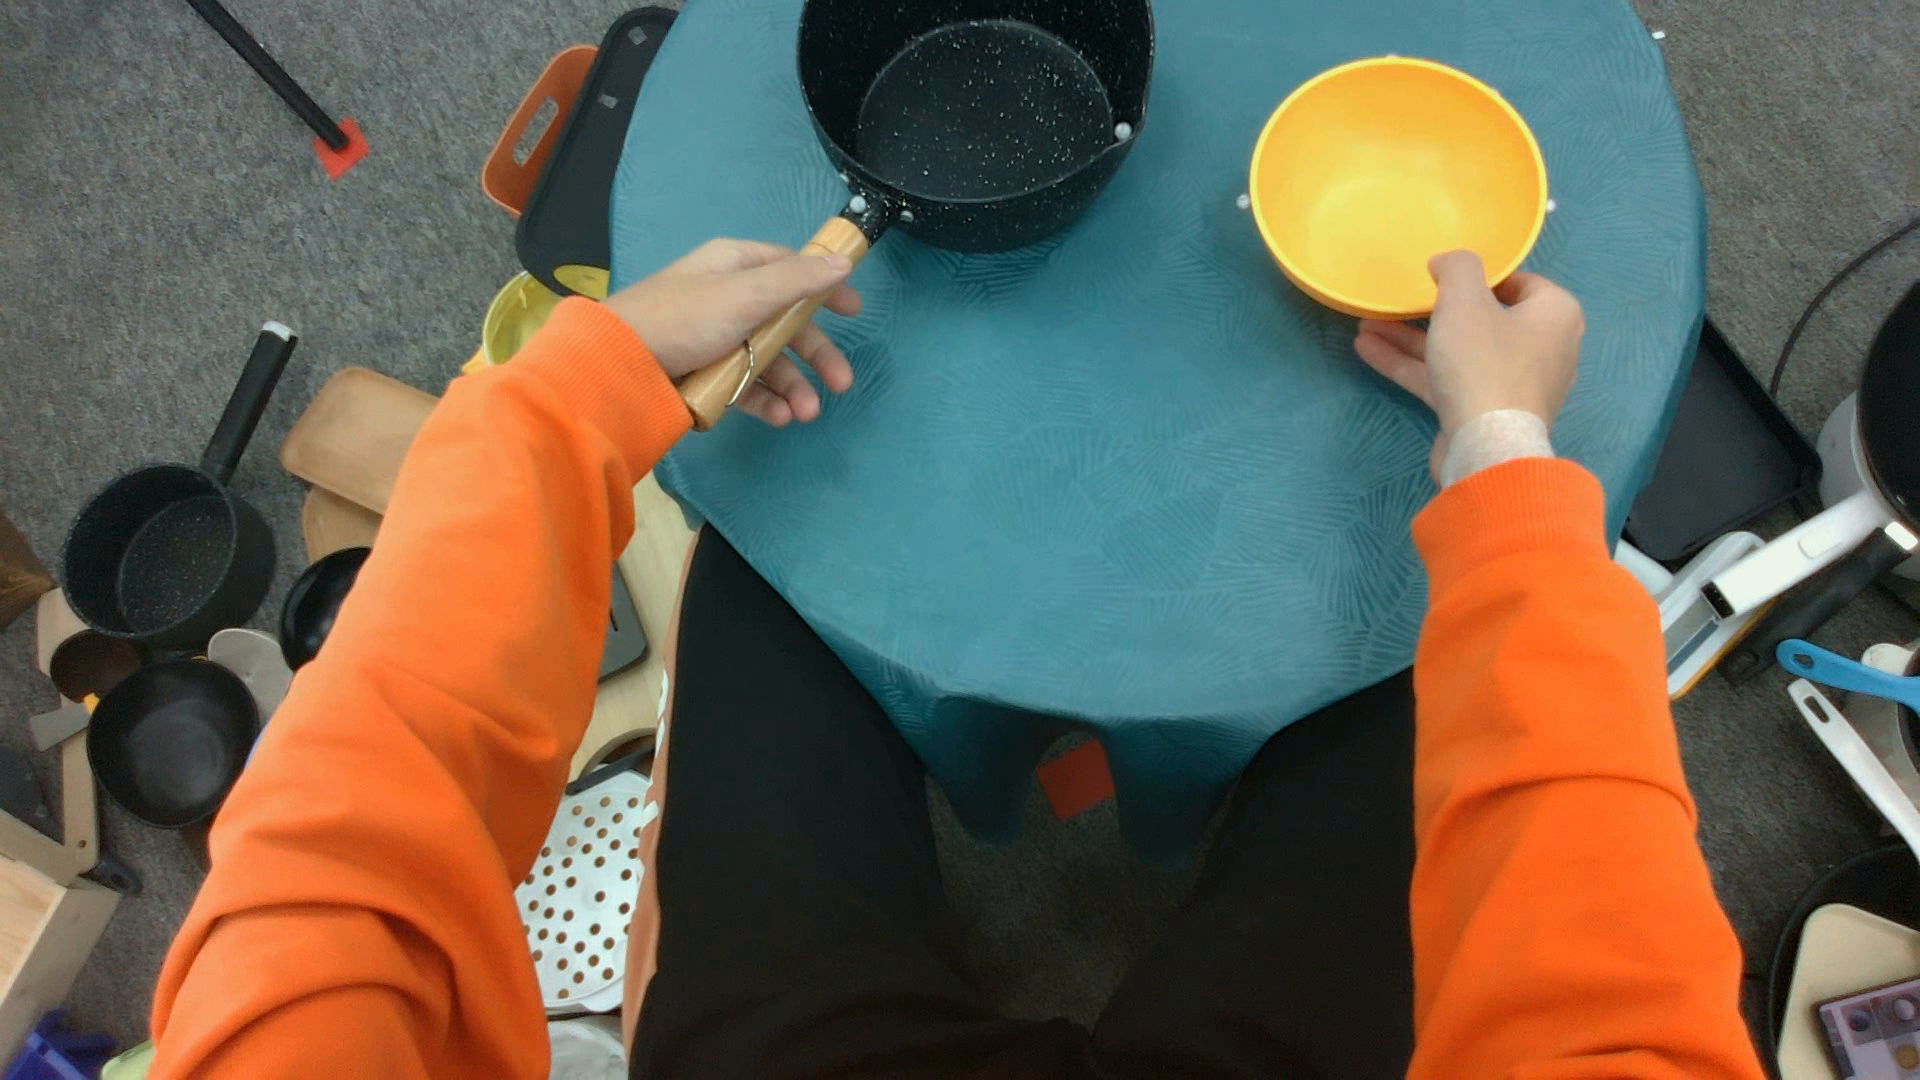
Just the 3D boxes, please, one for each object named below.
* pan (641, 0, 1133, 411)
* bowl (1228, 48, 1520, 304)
[{"bbox_3d":[-0.044,-0.189,0.717,0.207,0.108,0.343,30,76,10],"label":"pan"},{"bbox_3d":[0.211,-0.180,0.723,0.145,0.060,0.145,-1,73,5],"label":"bowl"}]
